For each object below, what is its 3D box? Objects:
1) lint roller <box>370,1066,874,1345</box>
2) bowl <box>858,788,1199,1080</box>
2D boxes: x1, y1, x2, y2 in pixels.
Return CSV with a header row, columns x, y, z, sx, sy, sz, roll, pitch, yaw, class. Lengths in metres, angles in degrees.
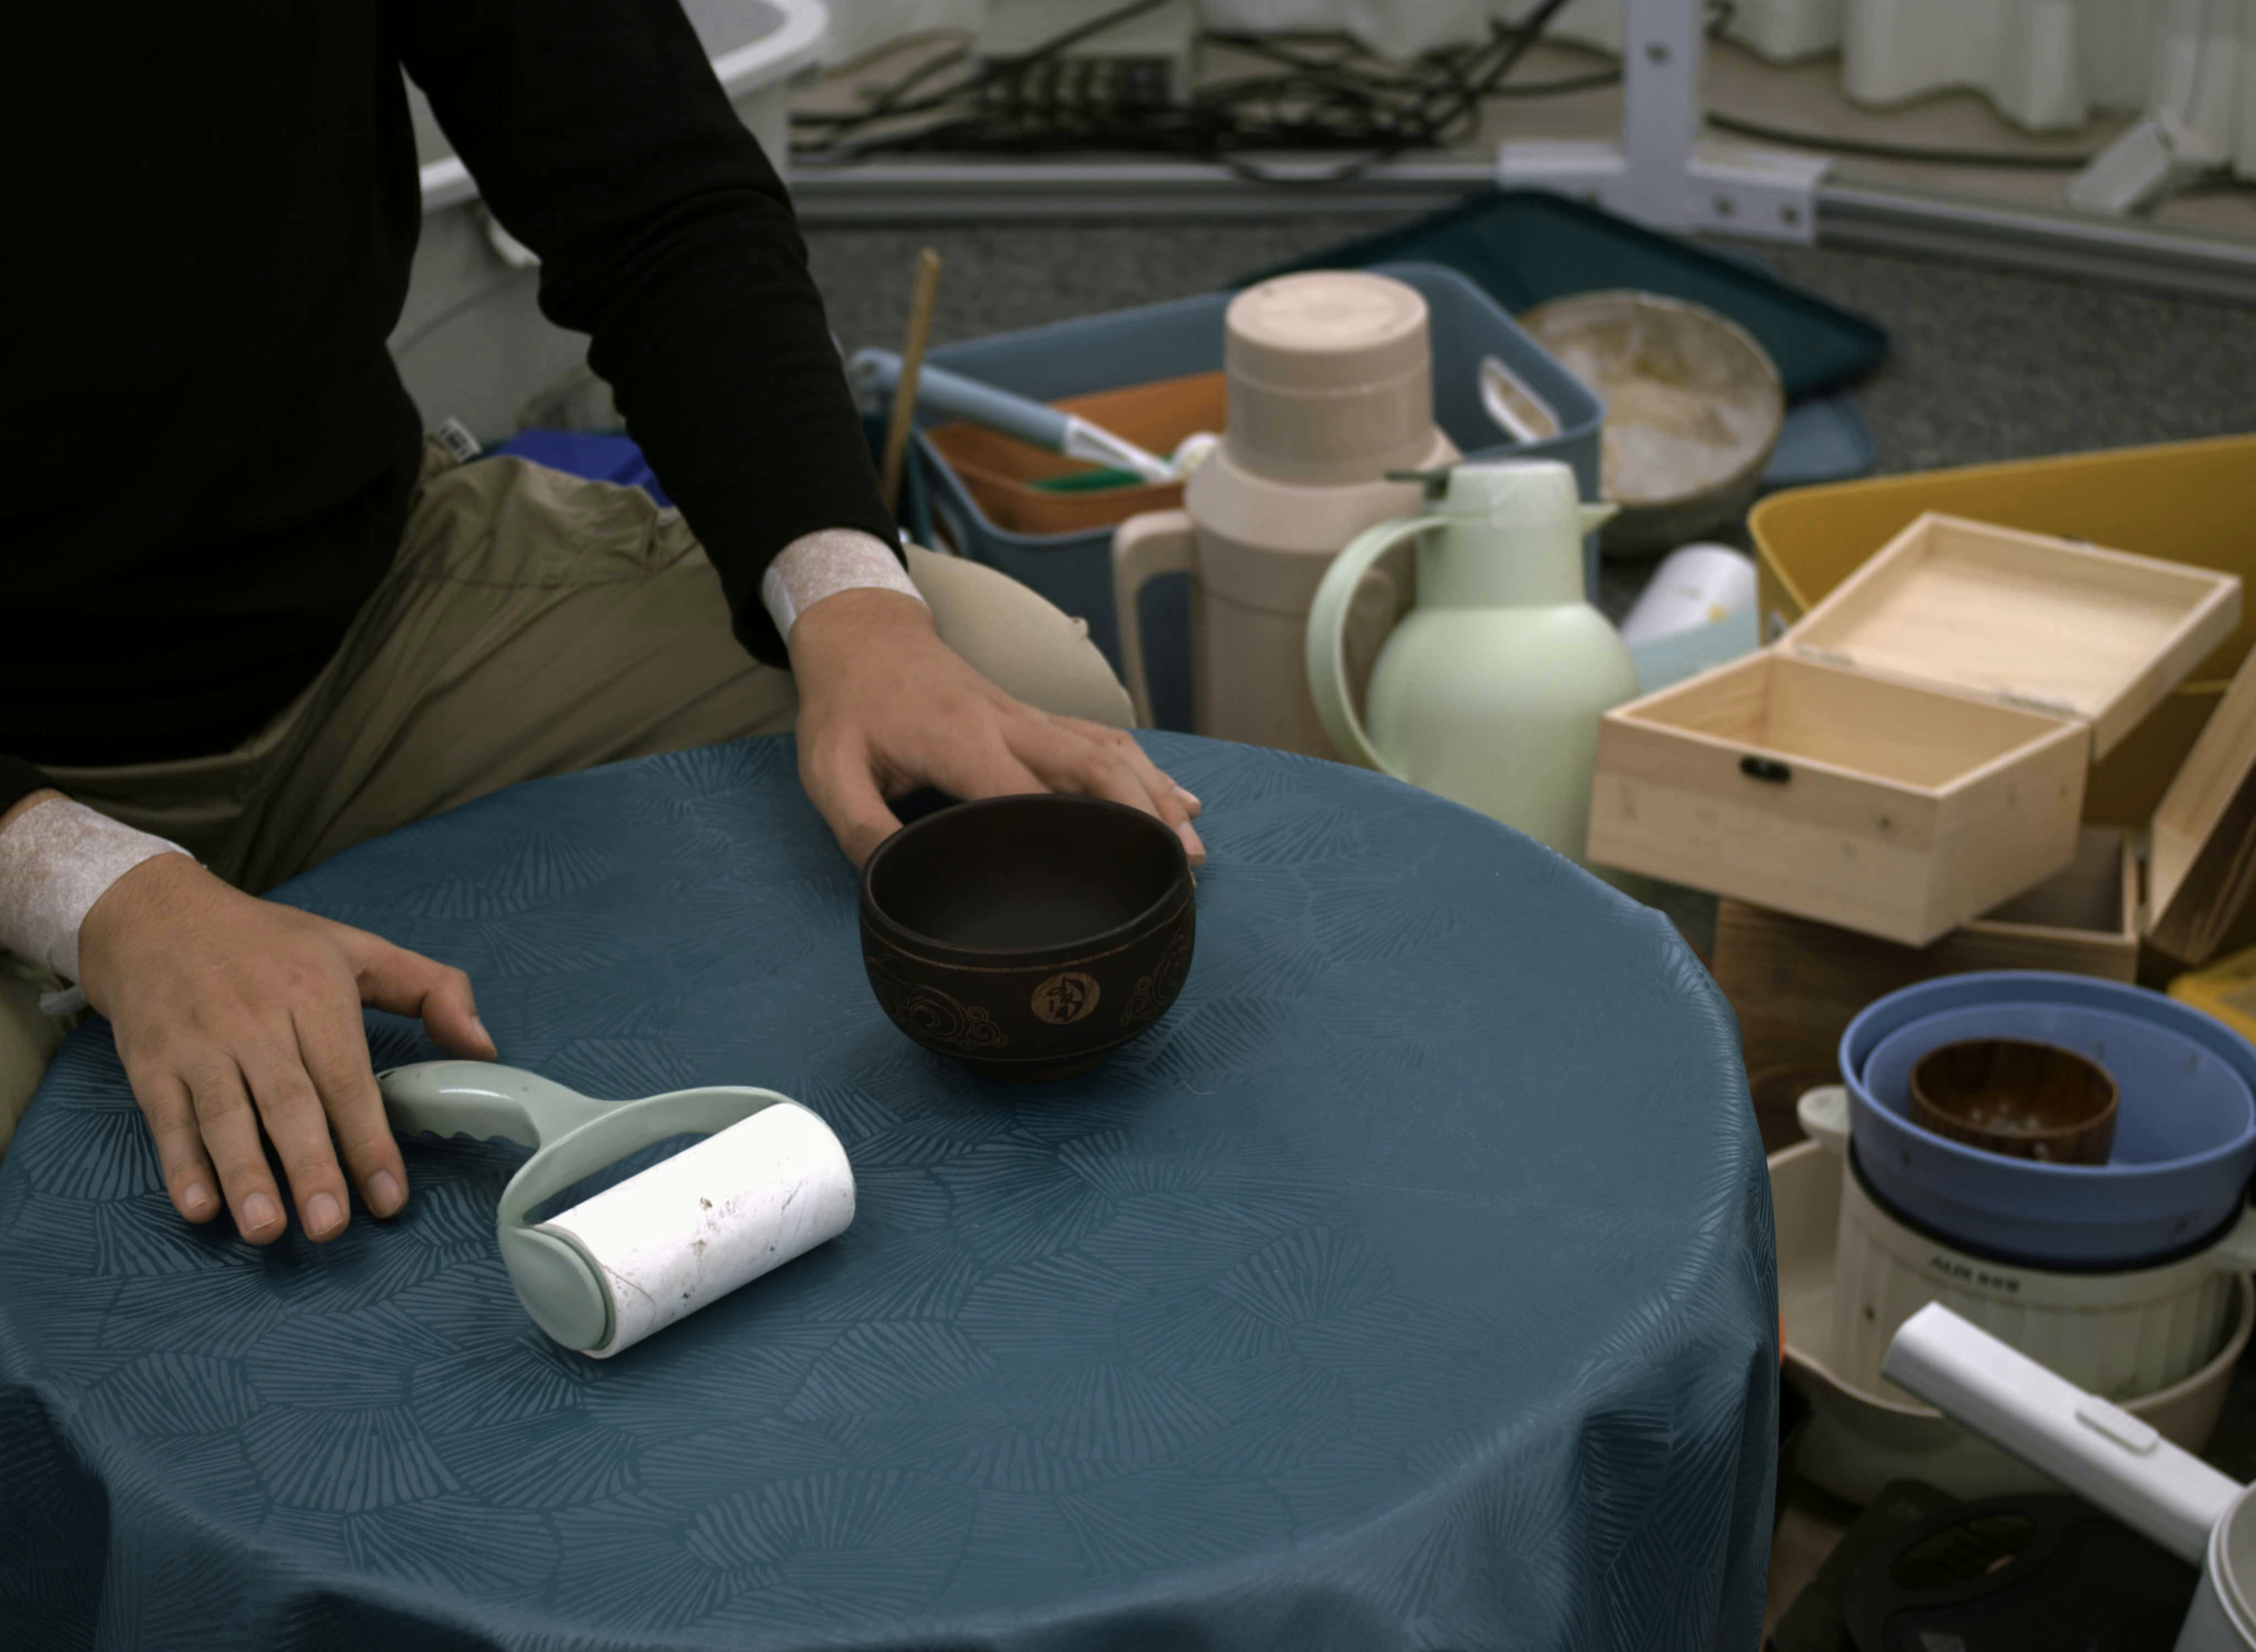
x,y,z,sx,sy,sz,roll,pitch,yaw,class
-0.185,0.107,1.861,0.118,0.048,0.197,-27,34,-37,lint roller
-0.033,0.044,1.937,0.117,0.069,0.120,-3,27,2,bowl
